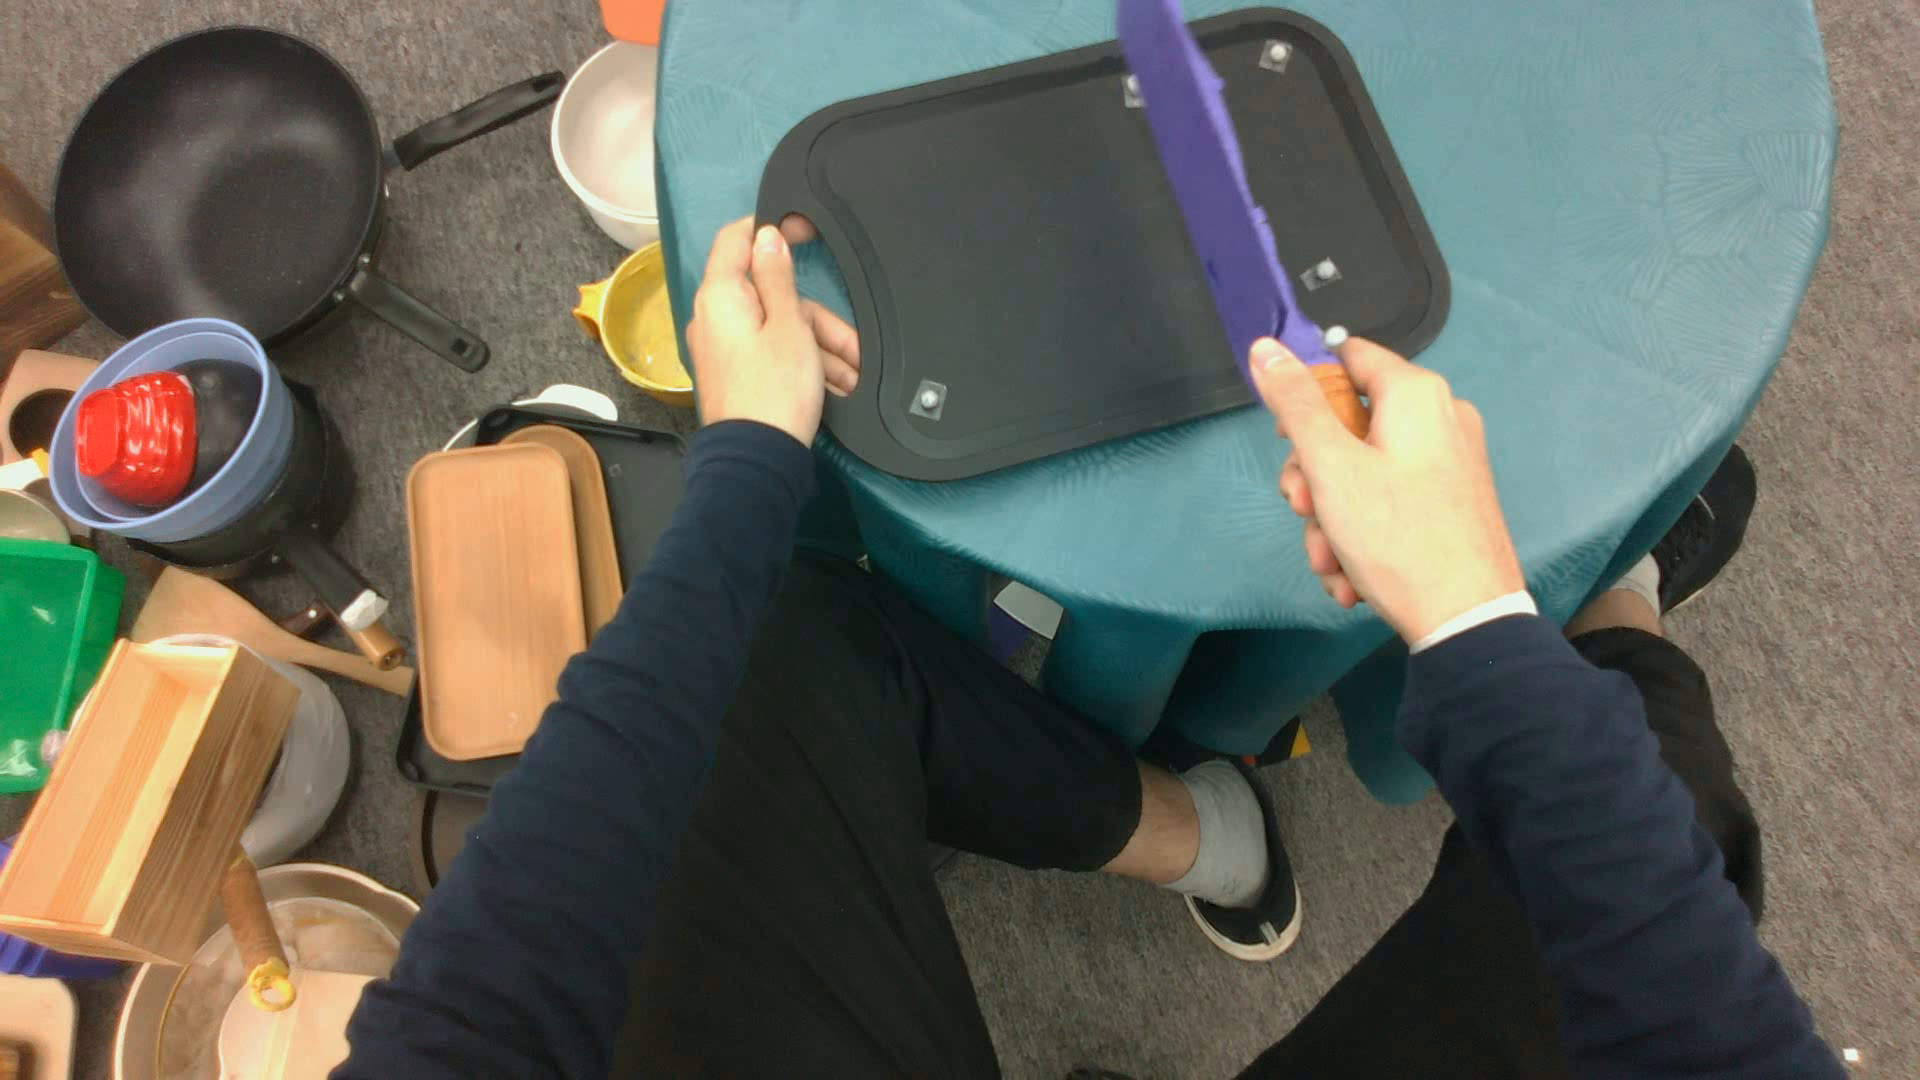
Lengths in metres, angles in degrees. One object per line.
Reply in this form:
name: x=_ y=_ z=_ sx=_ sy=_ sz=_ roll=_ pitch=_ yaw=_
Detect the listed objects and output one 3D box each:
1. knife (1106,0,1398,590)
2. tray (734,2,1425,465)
knife: x=0.115 y=-0.126 z=0.584 sx=0.032 sy=0.103 sz=0.316 roll=-14 pitch=76 yaw=-2
tray: x=0.054 y=-0.155 z=0.670 sx=0.326 sy=0.010 sz=0.211 roll=-15 pitch=73 yaw=-8
